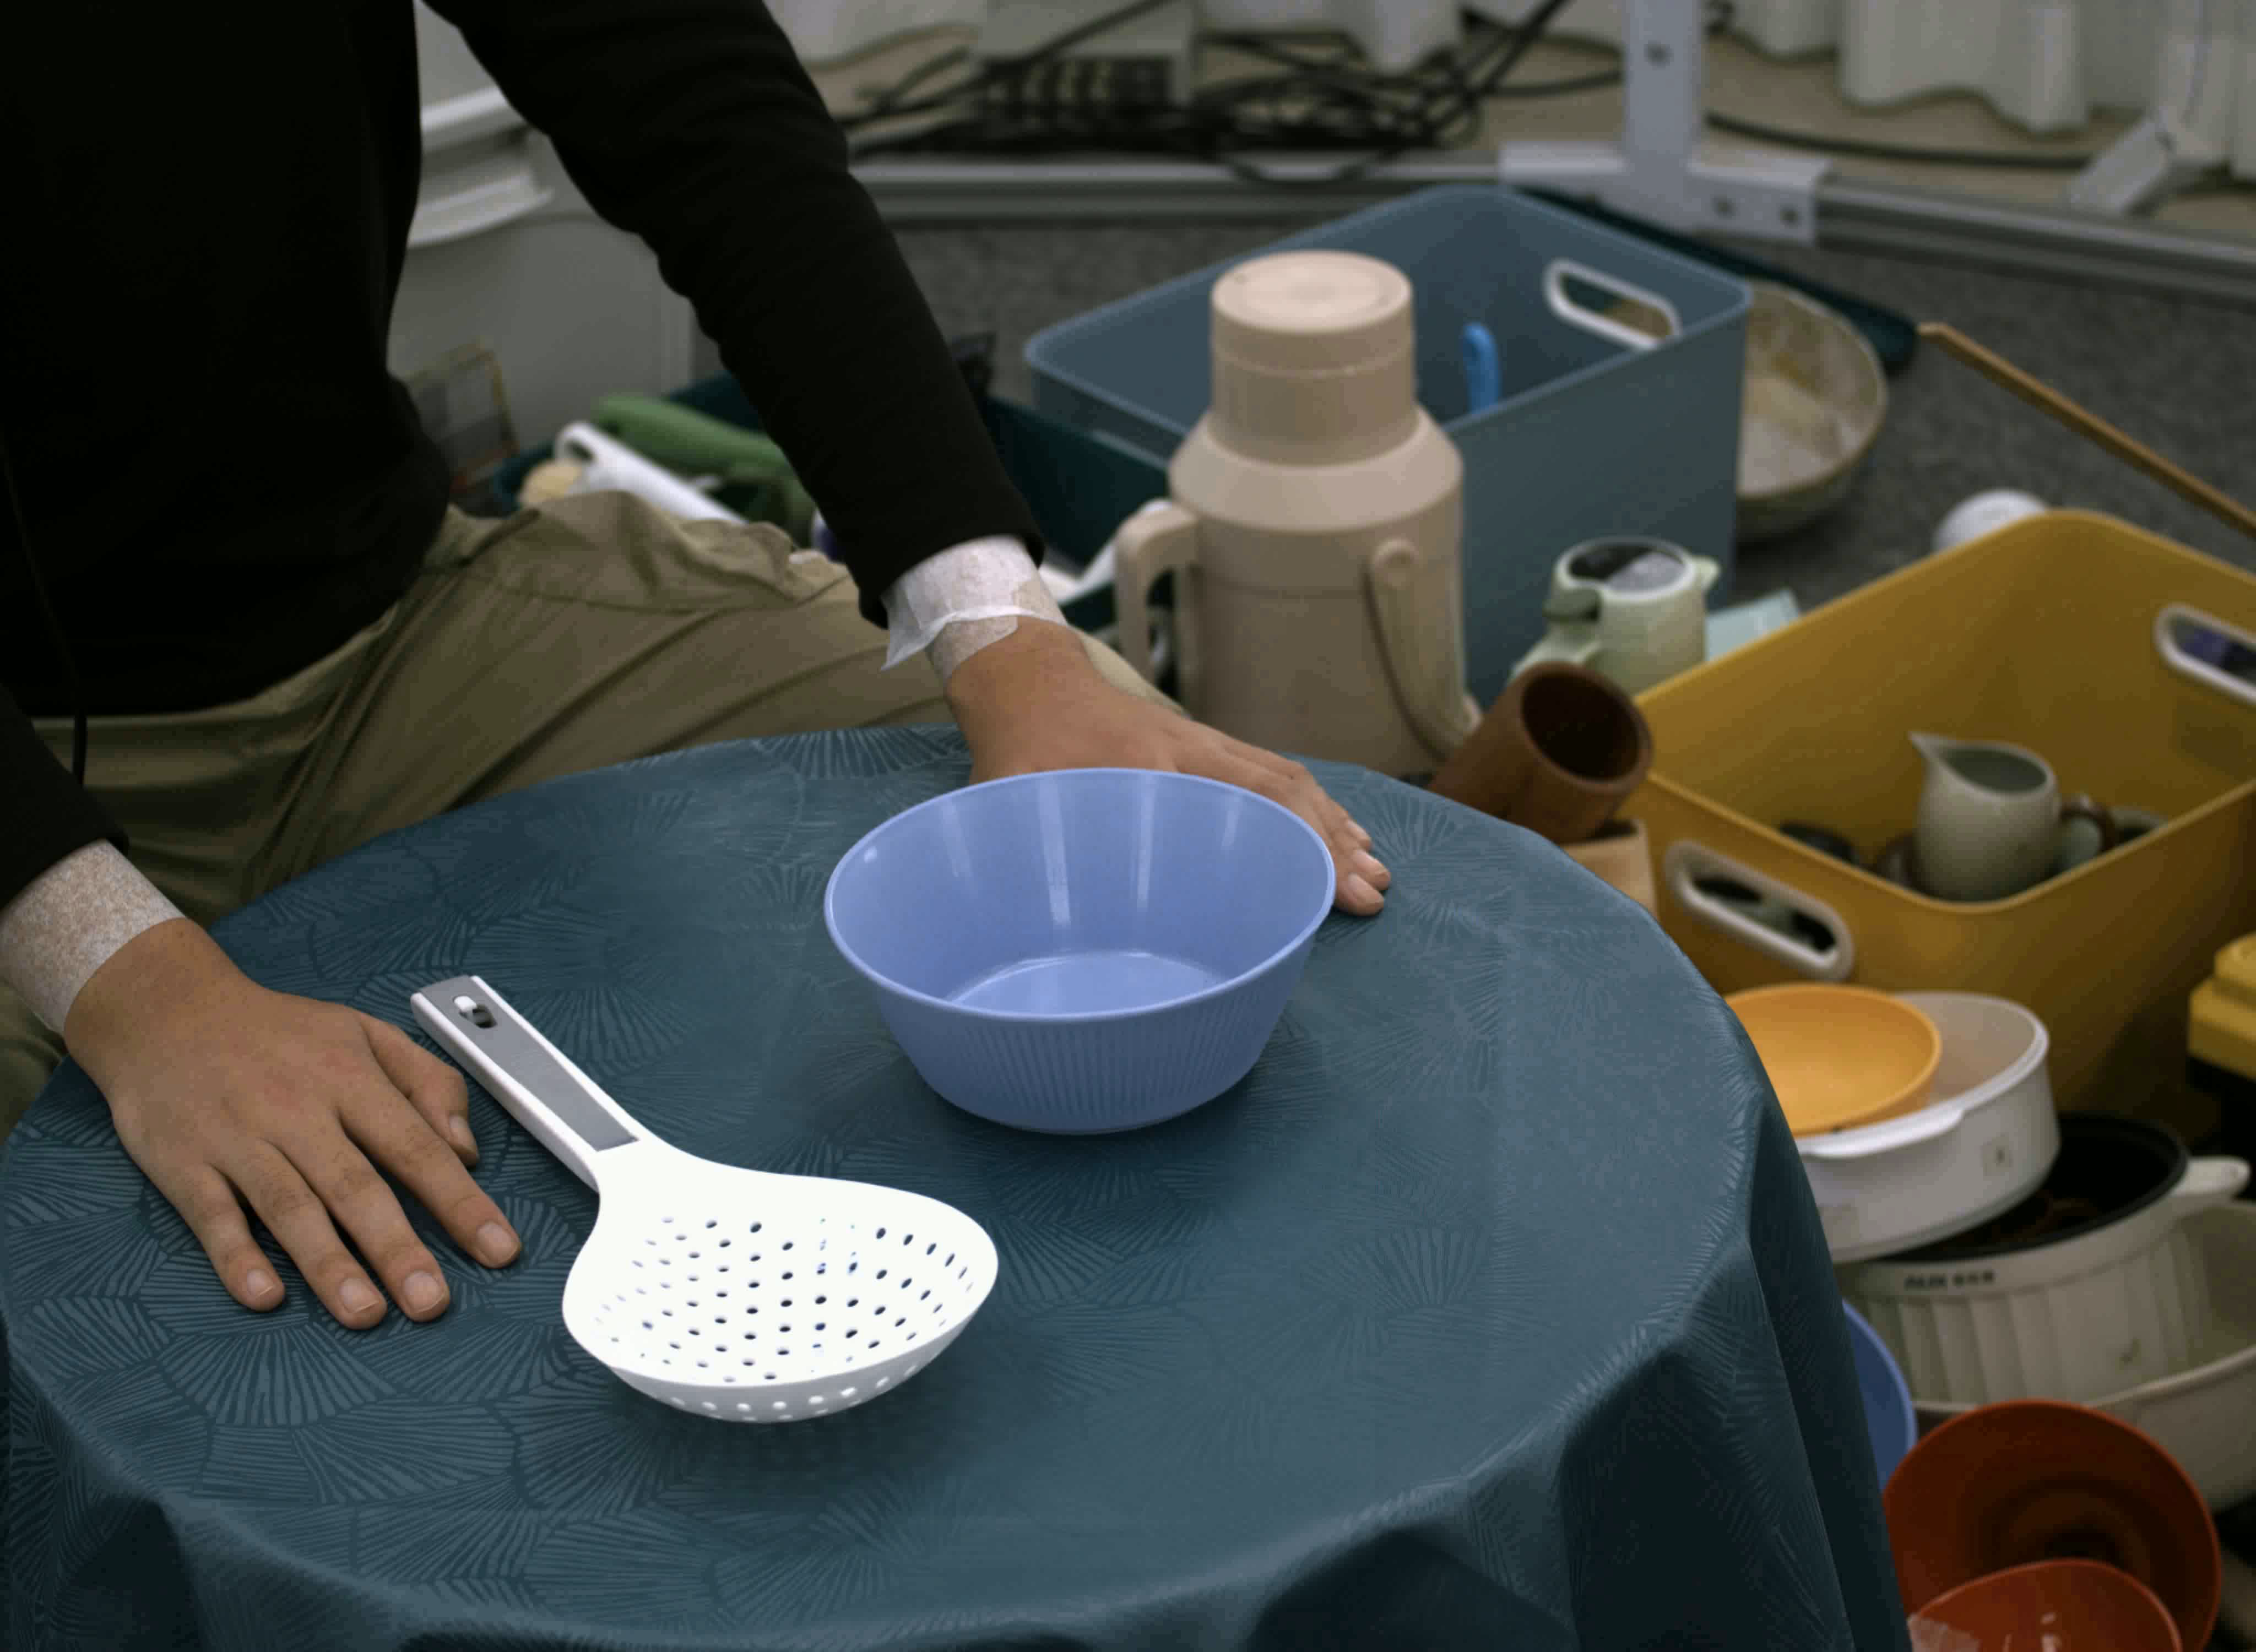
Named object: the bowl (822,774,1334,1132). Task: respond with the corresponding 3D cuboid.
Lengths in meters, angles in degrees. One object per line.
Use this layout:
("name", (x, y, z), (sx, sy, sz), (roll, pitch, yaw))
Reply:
("bowl", (-0.015, 0.049, 1.928), (0.175, 0.069, 0.178), (-3, 26, 2))

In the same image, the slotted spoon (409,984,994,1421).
("slotted spoon", (-0.160, 0.116, 1.839), (0.137, 0.045, 0.351), (-16, 29, -25))
